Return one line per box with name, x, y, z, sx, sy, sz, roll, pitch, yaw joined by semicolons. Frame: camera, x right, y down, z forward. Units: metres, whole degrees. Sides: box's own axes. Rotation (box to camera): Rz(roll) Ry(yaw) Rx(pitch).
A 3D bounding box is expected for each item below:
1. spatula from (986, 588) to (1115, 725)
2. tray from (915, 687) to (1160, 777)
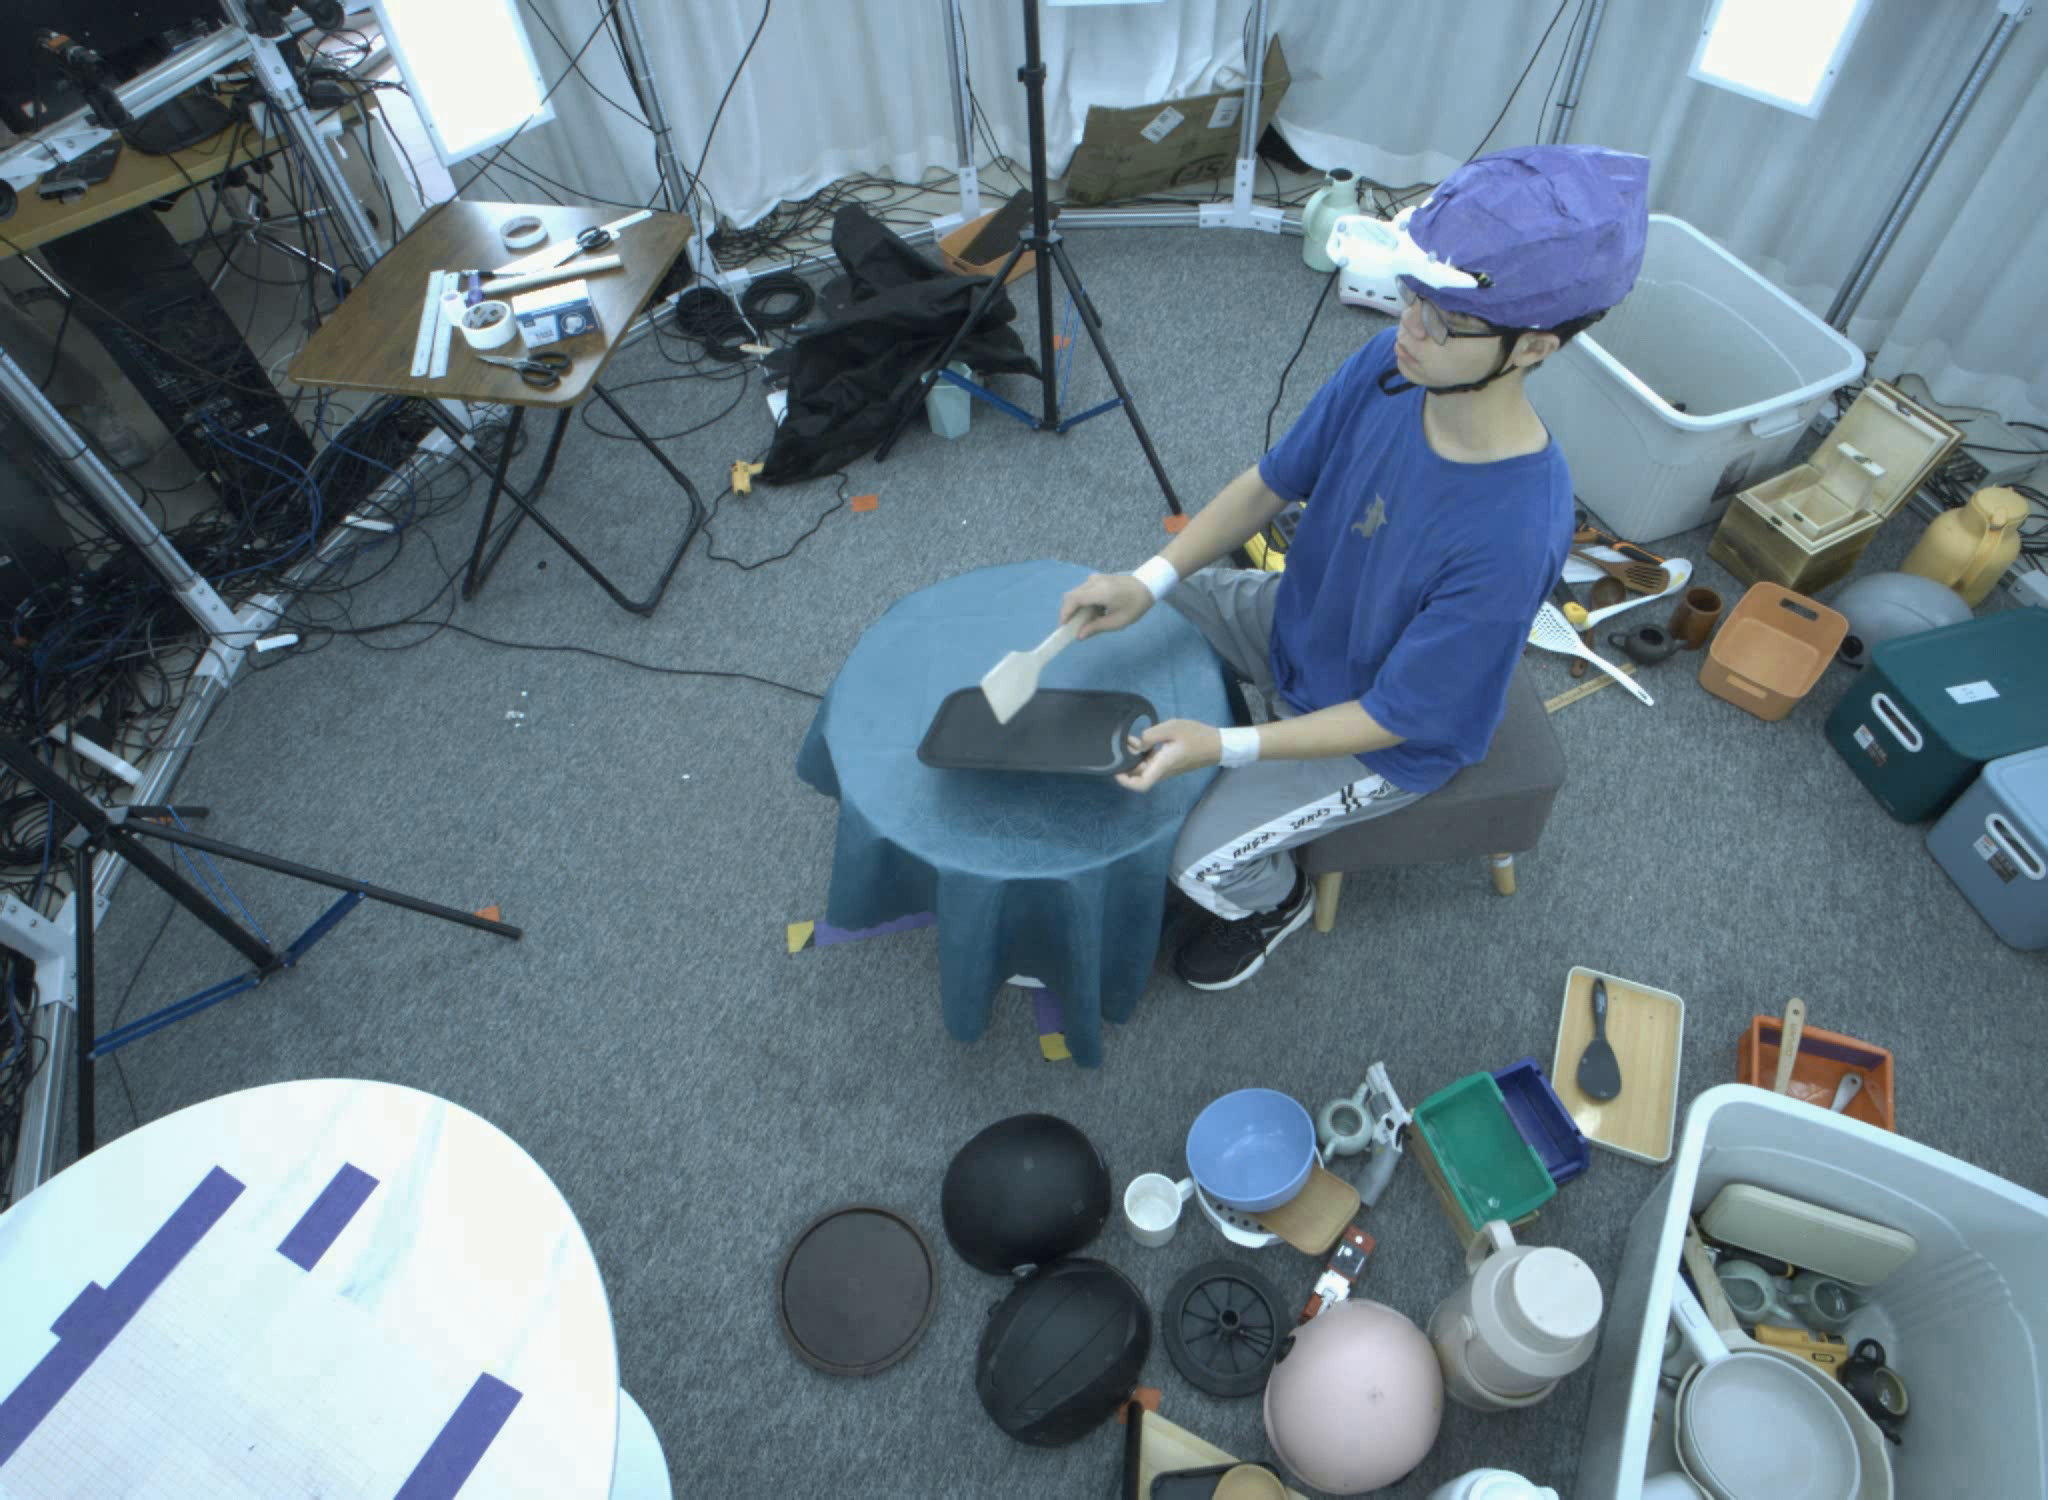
spatula;0.045;-0.147;1.748;0.010;0.073;0.295;2;38;45
tray;0.024;-0.030;1.697;0.322;0.010;0.210;3;35;13
